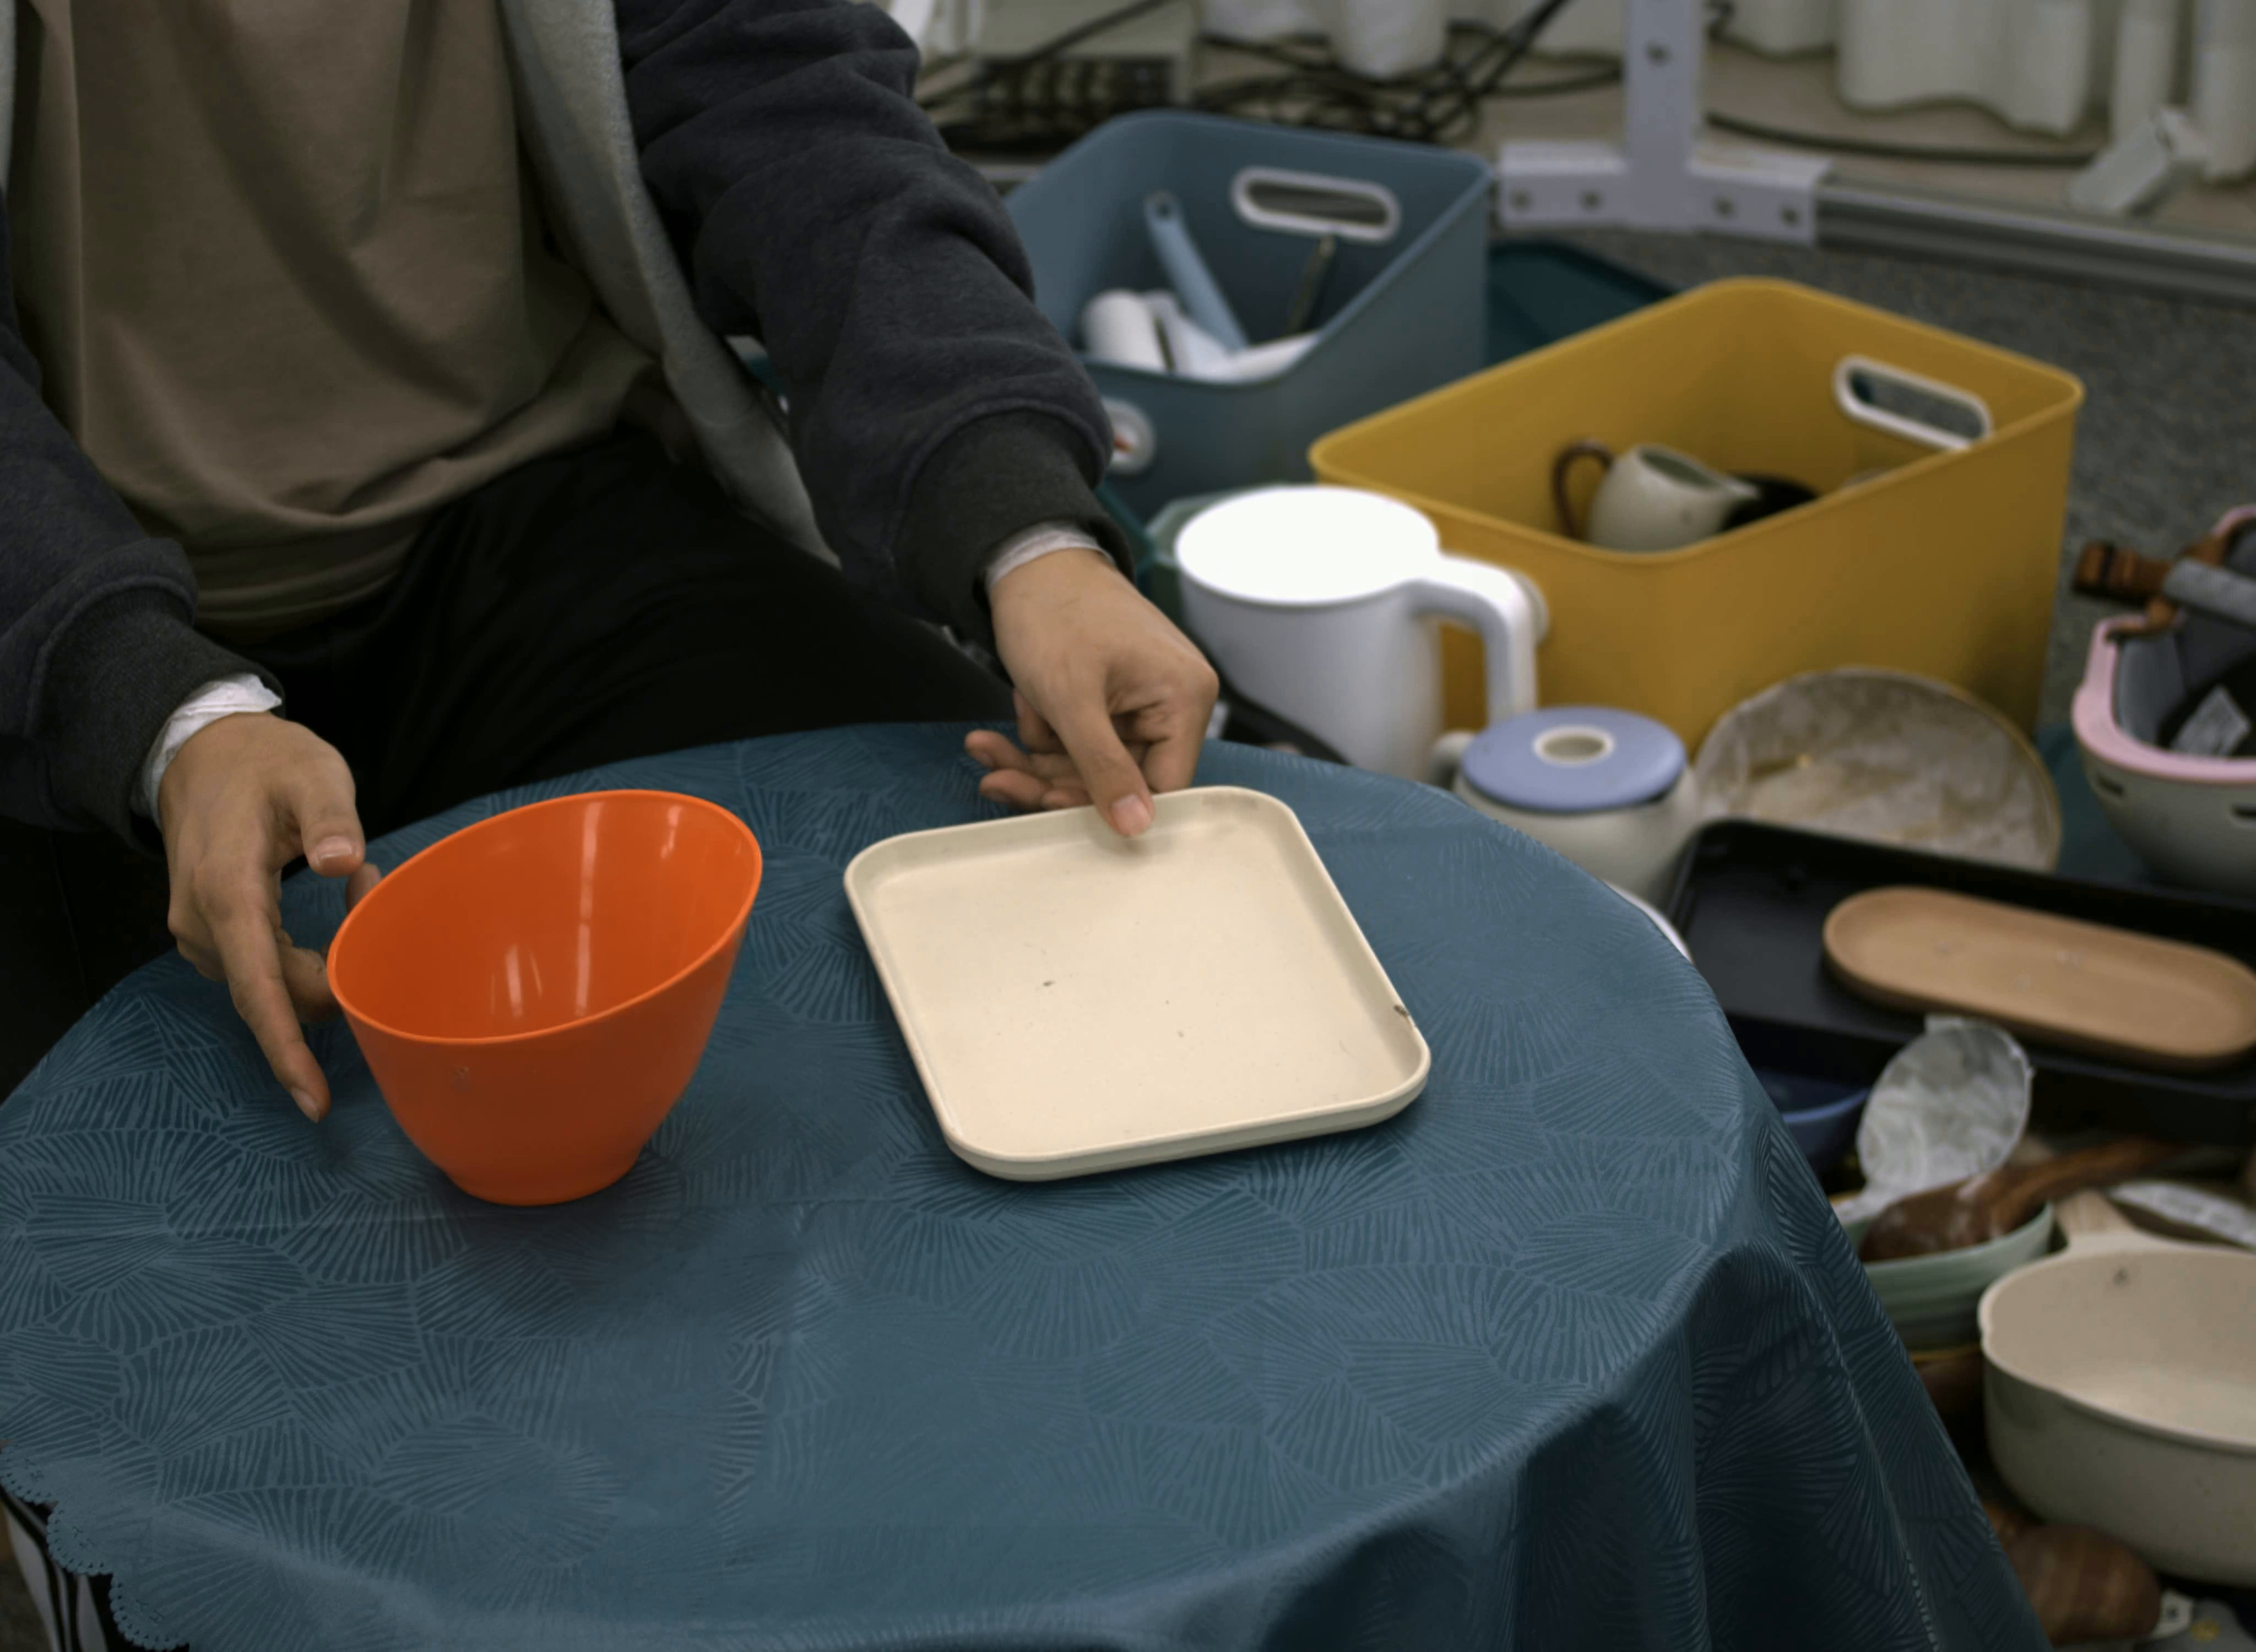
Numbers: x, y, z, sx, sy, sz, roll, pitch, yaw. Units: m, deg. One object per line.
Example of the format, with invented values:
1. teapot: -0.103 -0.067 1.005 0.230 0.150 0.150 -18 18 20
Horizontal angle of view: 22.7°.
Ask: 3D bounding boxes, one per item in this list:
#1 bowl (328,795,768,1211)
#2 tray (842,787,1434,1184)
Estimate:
1. bowl: -0.191 0.066 1.880 0.147 0.103 0.150 -1 28 1
2. tray: 0.000 0.055 1.972 0.171 0.017 0.242 -9 28 -11
